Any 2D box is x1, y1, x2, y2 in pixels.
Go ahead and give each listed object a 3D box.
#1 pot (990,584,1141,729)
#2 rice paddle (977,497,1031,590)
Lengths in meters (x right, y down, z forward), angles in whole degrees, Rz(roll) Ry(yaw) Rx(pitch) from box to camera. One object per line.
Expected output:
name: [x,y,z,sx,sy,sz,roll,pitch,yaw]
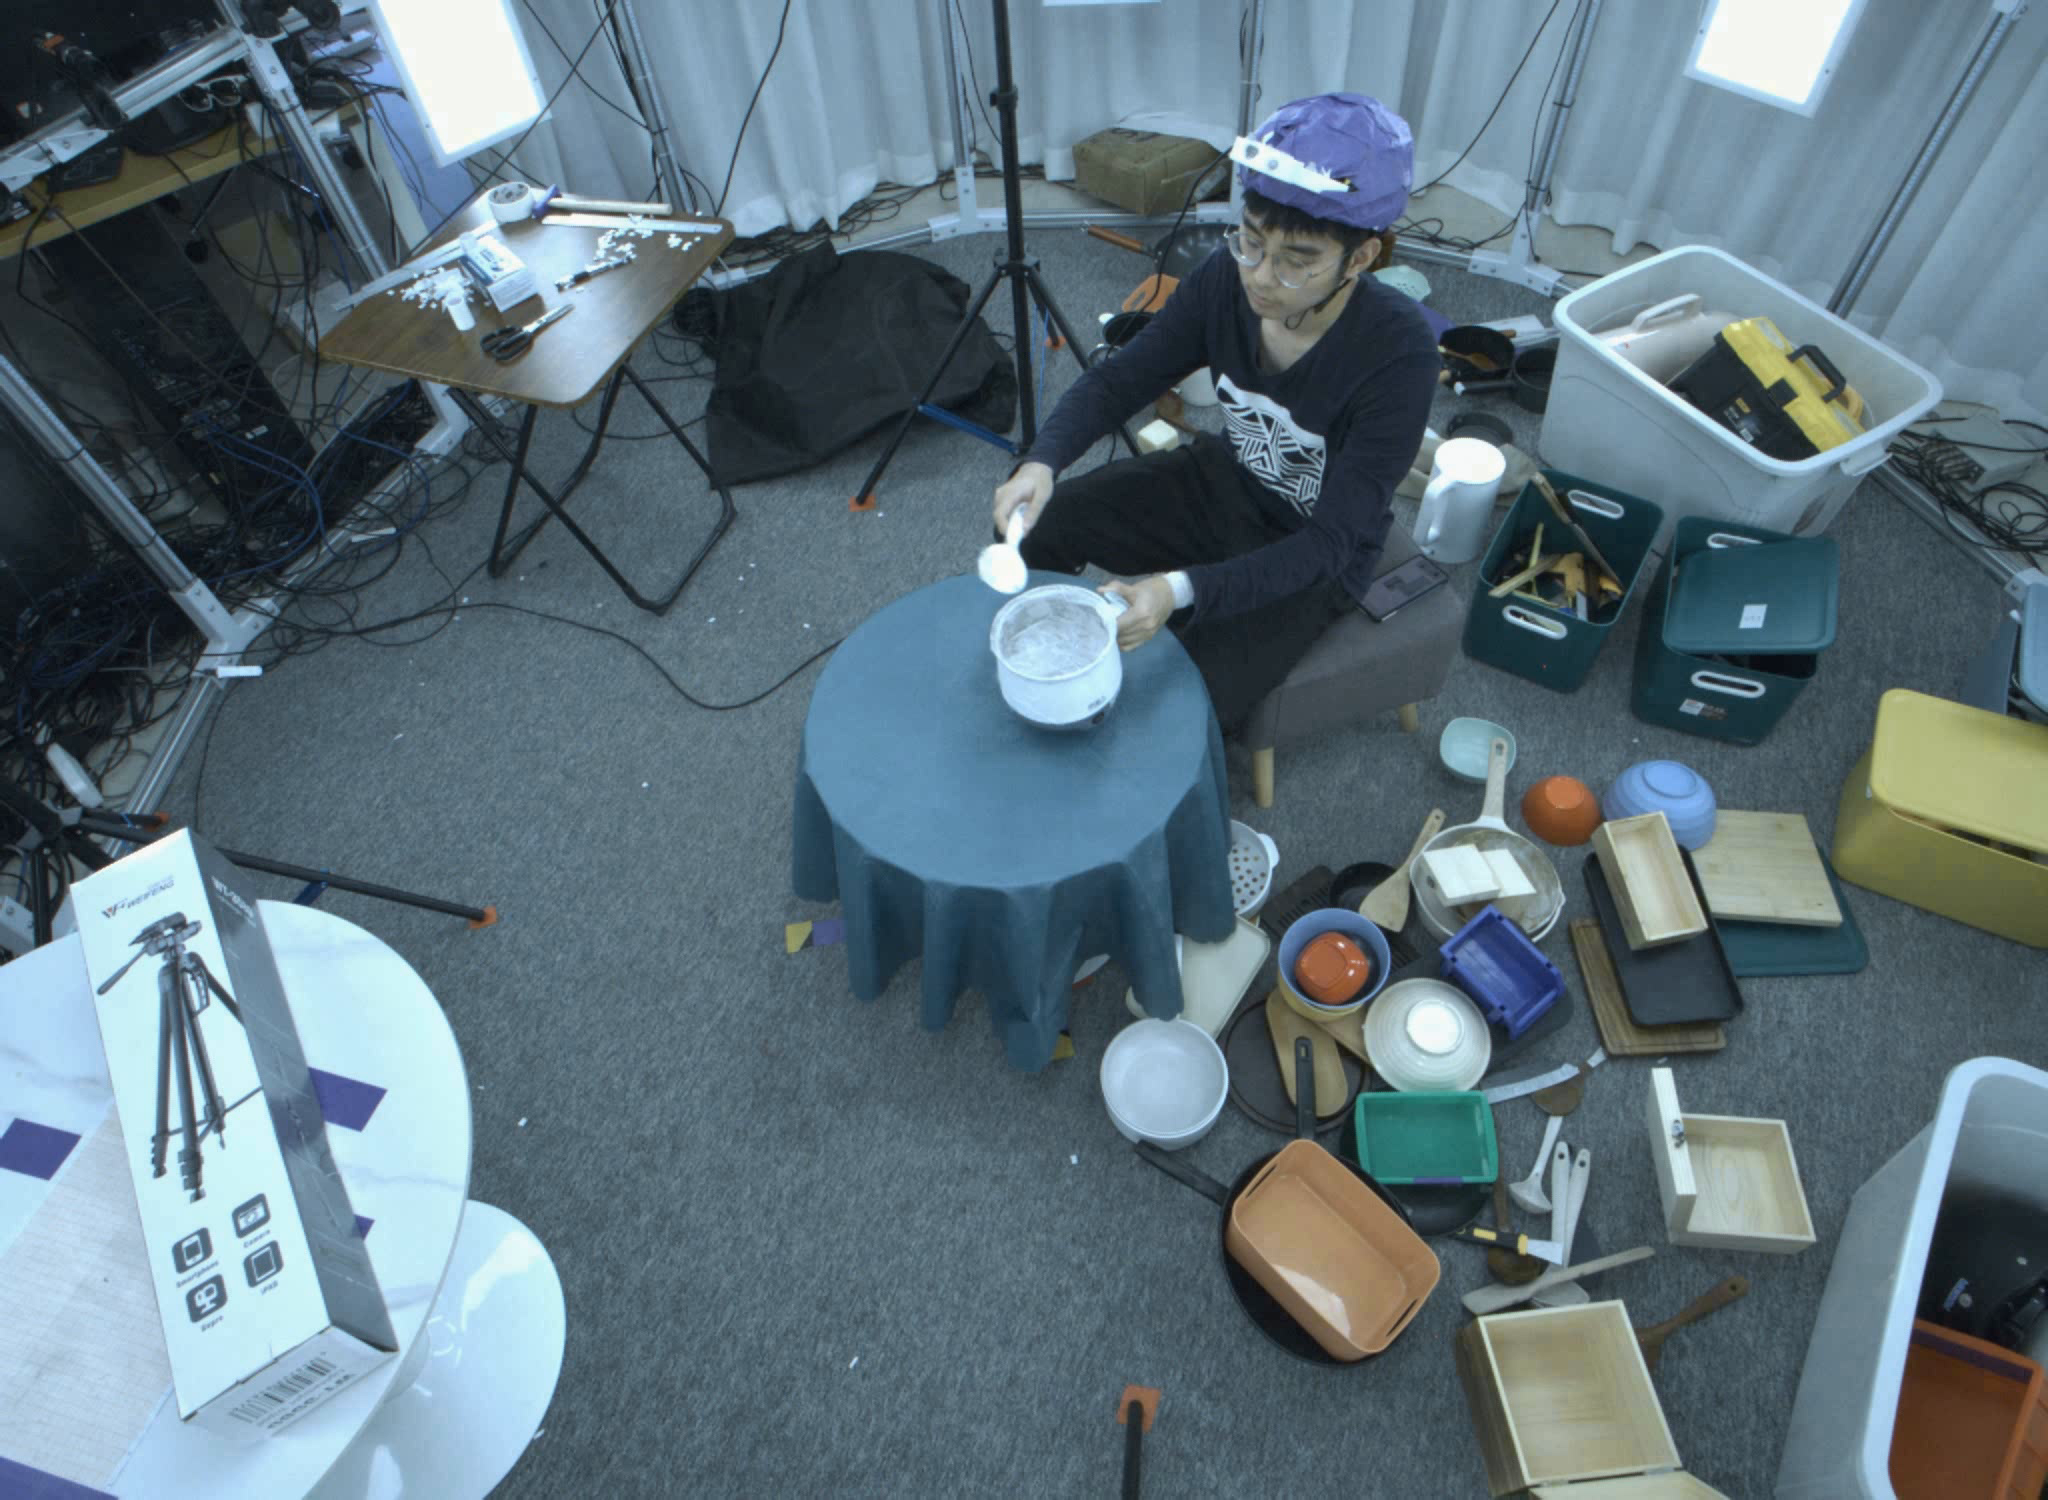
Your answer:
pot: [0.069,-0.145,1.768,0.235,0.138,0.175,-36,61,-17]
rice paddle: [-0.022,-0.287,1.701,0.069,0.029,0.204,28,42,-13]
